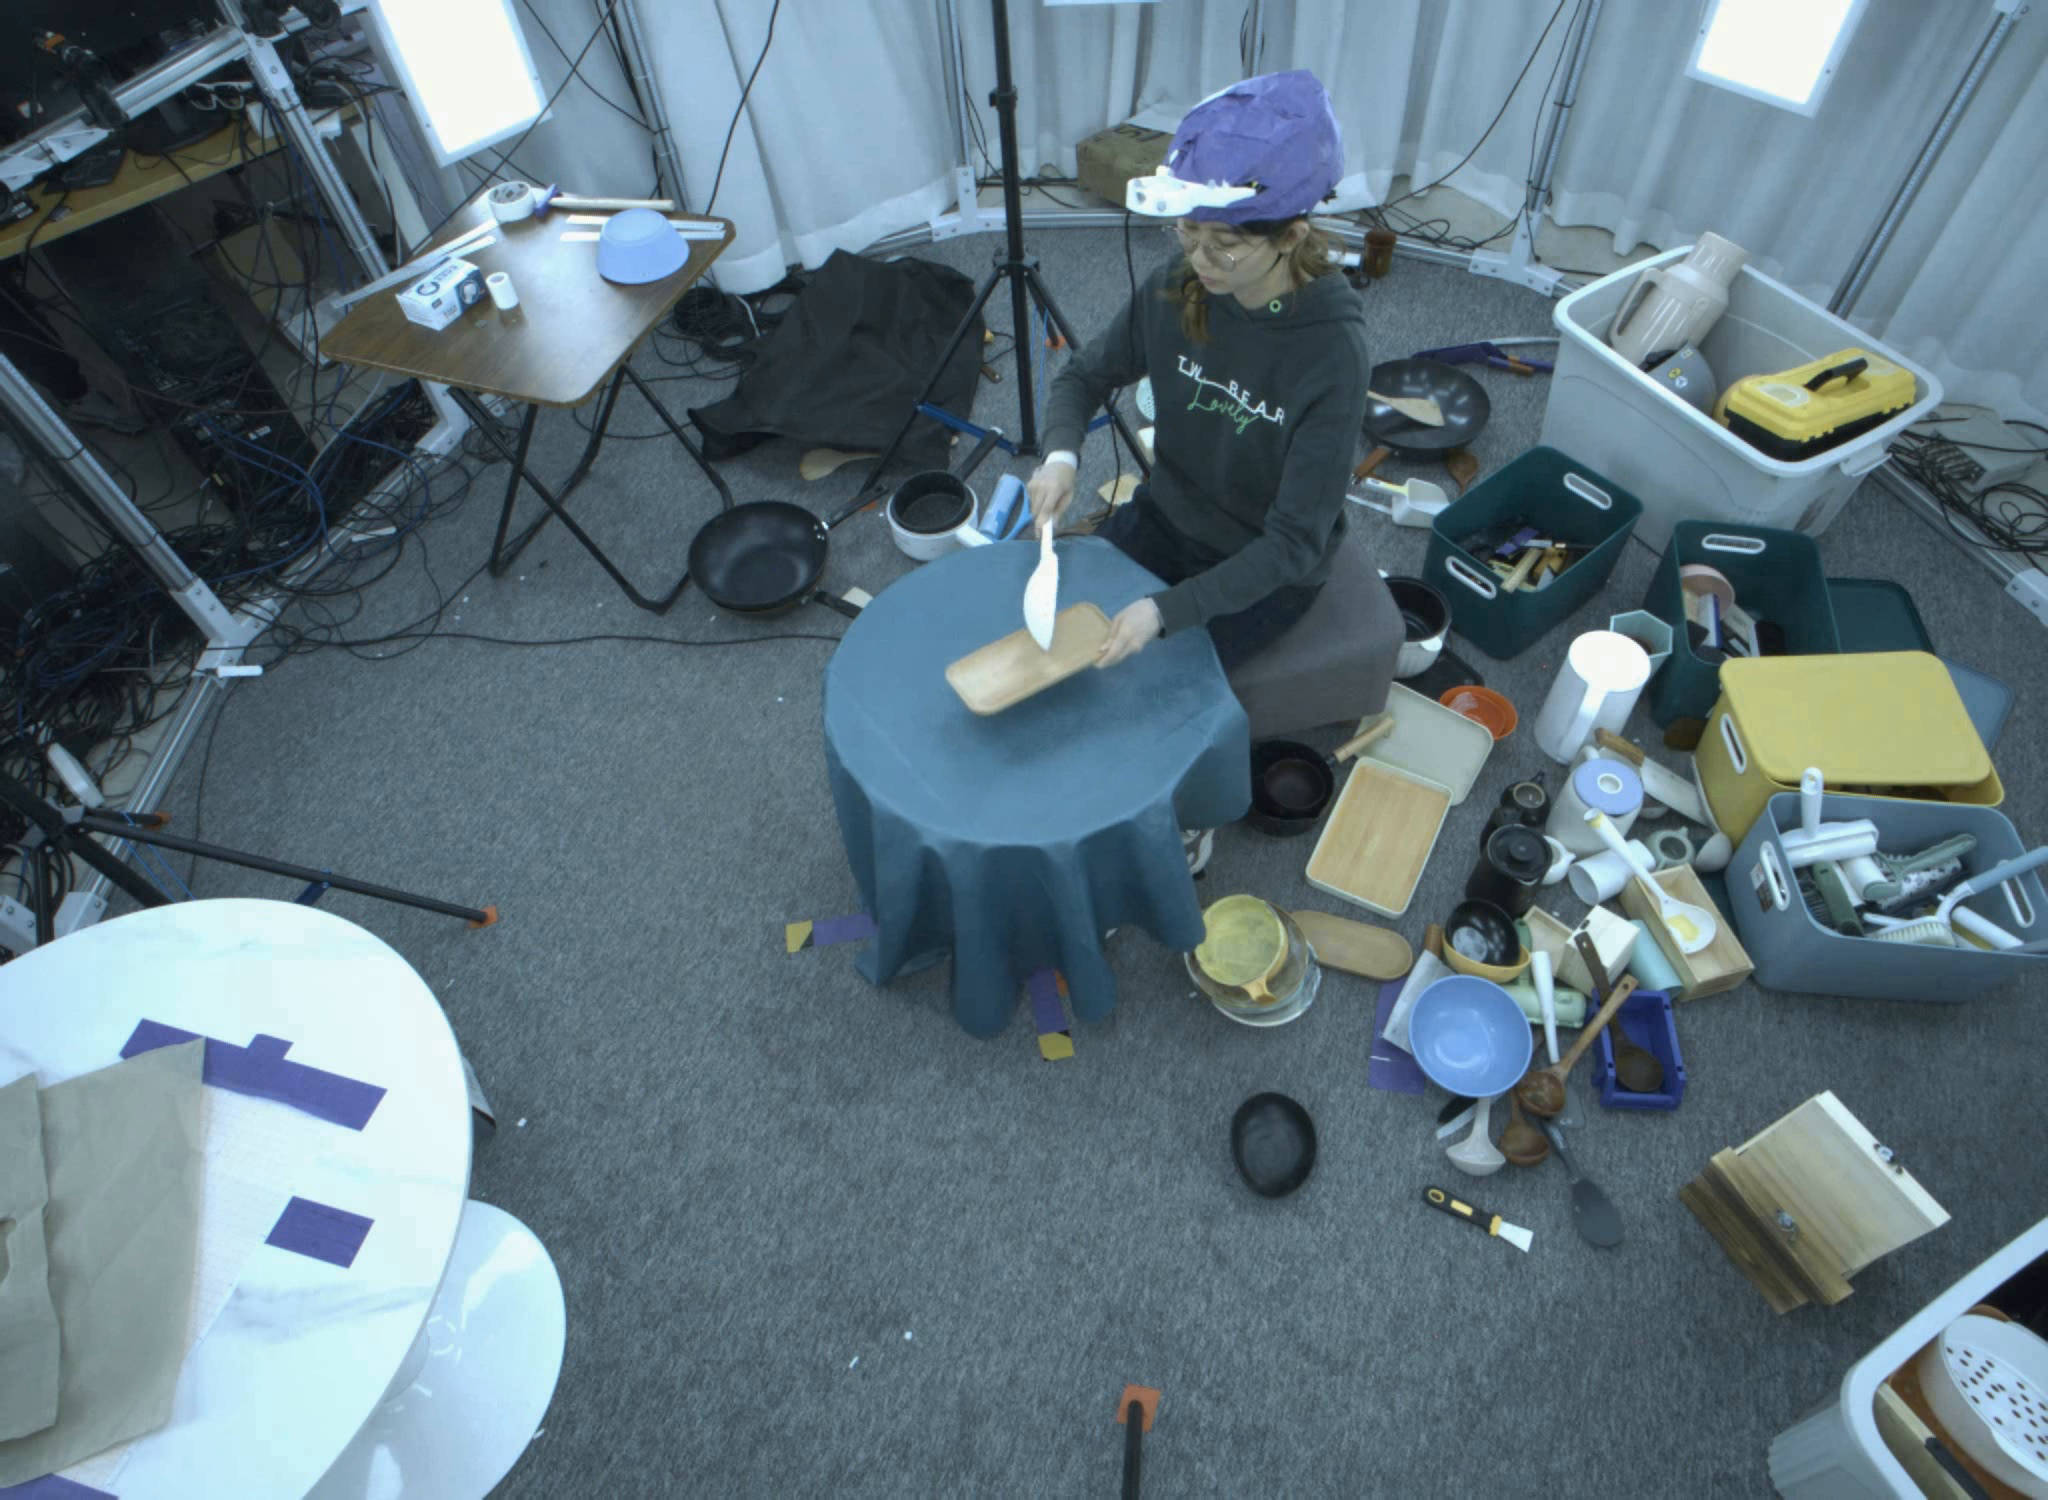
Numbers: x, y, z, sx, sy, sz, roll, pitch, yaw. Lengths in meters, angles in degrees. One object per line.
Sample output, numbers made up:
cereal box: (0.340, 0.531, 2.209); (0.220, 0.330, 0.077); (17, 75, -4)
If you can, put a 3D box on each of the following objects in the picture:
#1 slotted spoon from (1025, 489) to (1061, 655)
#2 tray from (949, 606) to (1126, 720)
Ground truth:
slotted spoon: (0.035, -0.282, 1.827); (0.046, 0.137, 0.347); (9, 46, -1)
tray: (0.020, -0.127, 1.784); (0.252, 0.023, 0.128); (-27, 49, -14)
